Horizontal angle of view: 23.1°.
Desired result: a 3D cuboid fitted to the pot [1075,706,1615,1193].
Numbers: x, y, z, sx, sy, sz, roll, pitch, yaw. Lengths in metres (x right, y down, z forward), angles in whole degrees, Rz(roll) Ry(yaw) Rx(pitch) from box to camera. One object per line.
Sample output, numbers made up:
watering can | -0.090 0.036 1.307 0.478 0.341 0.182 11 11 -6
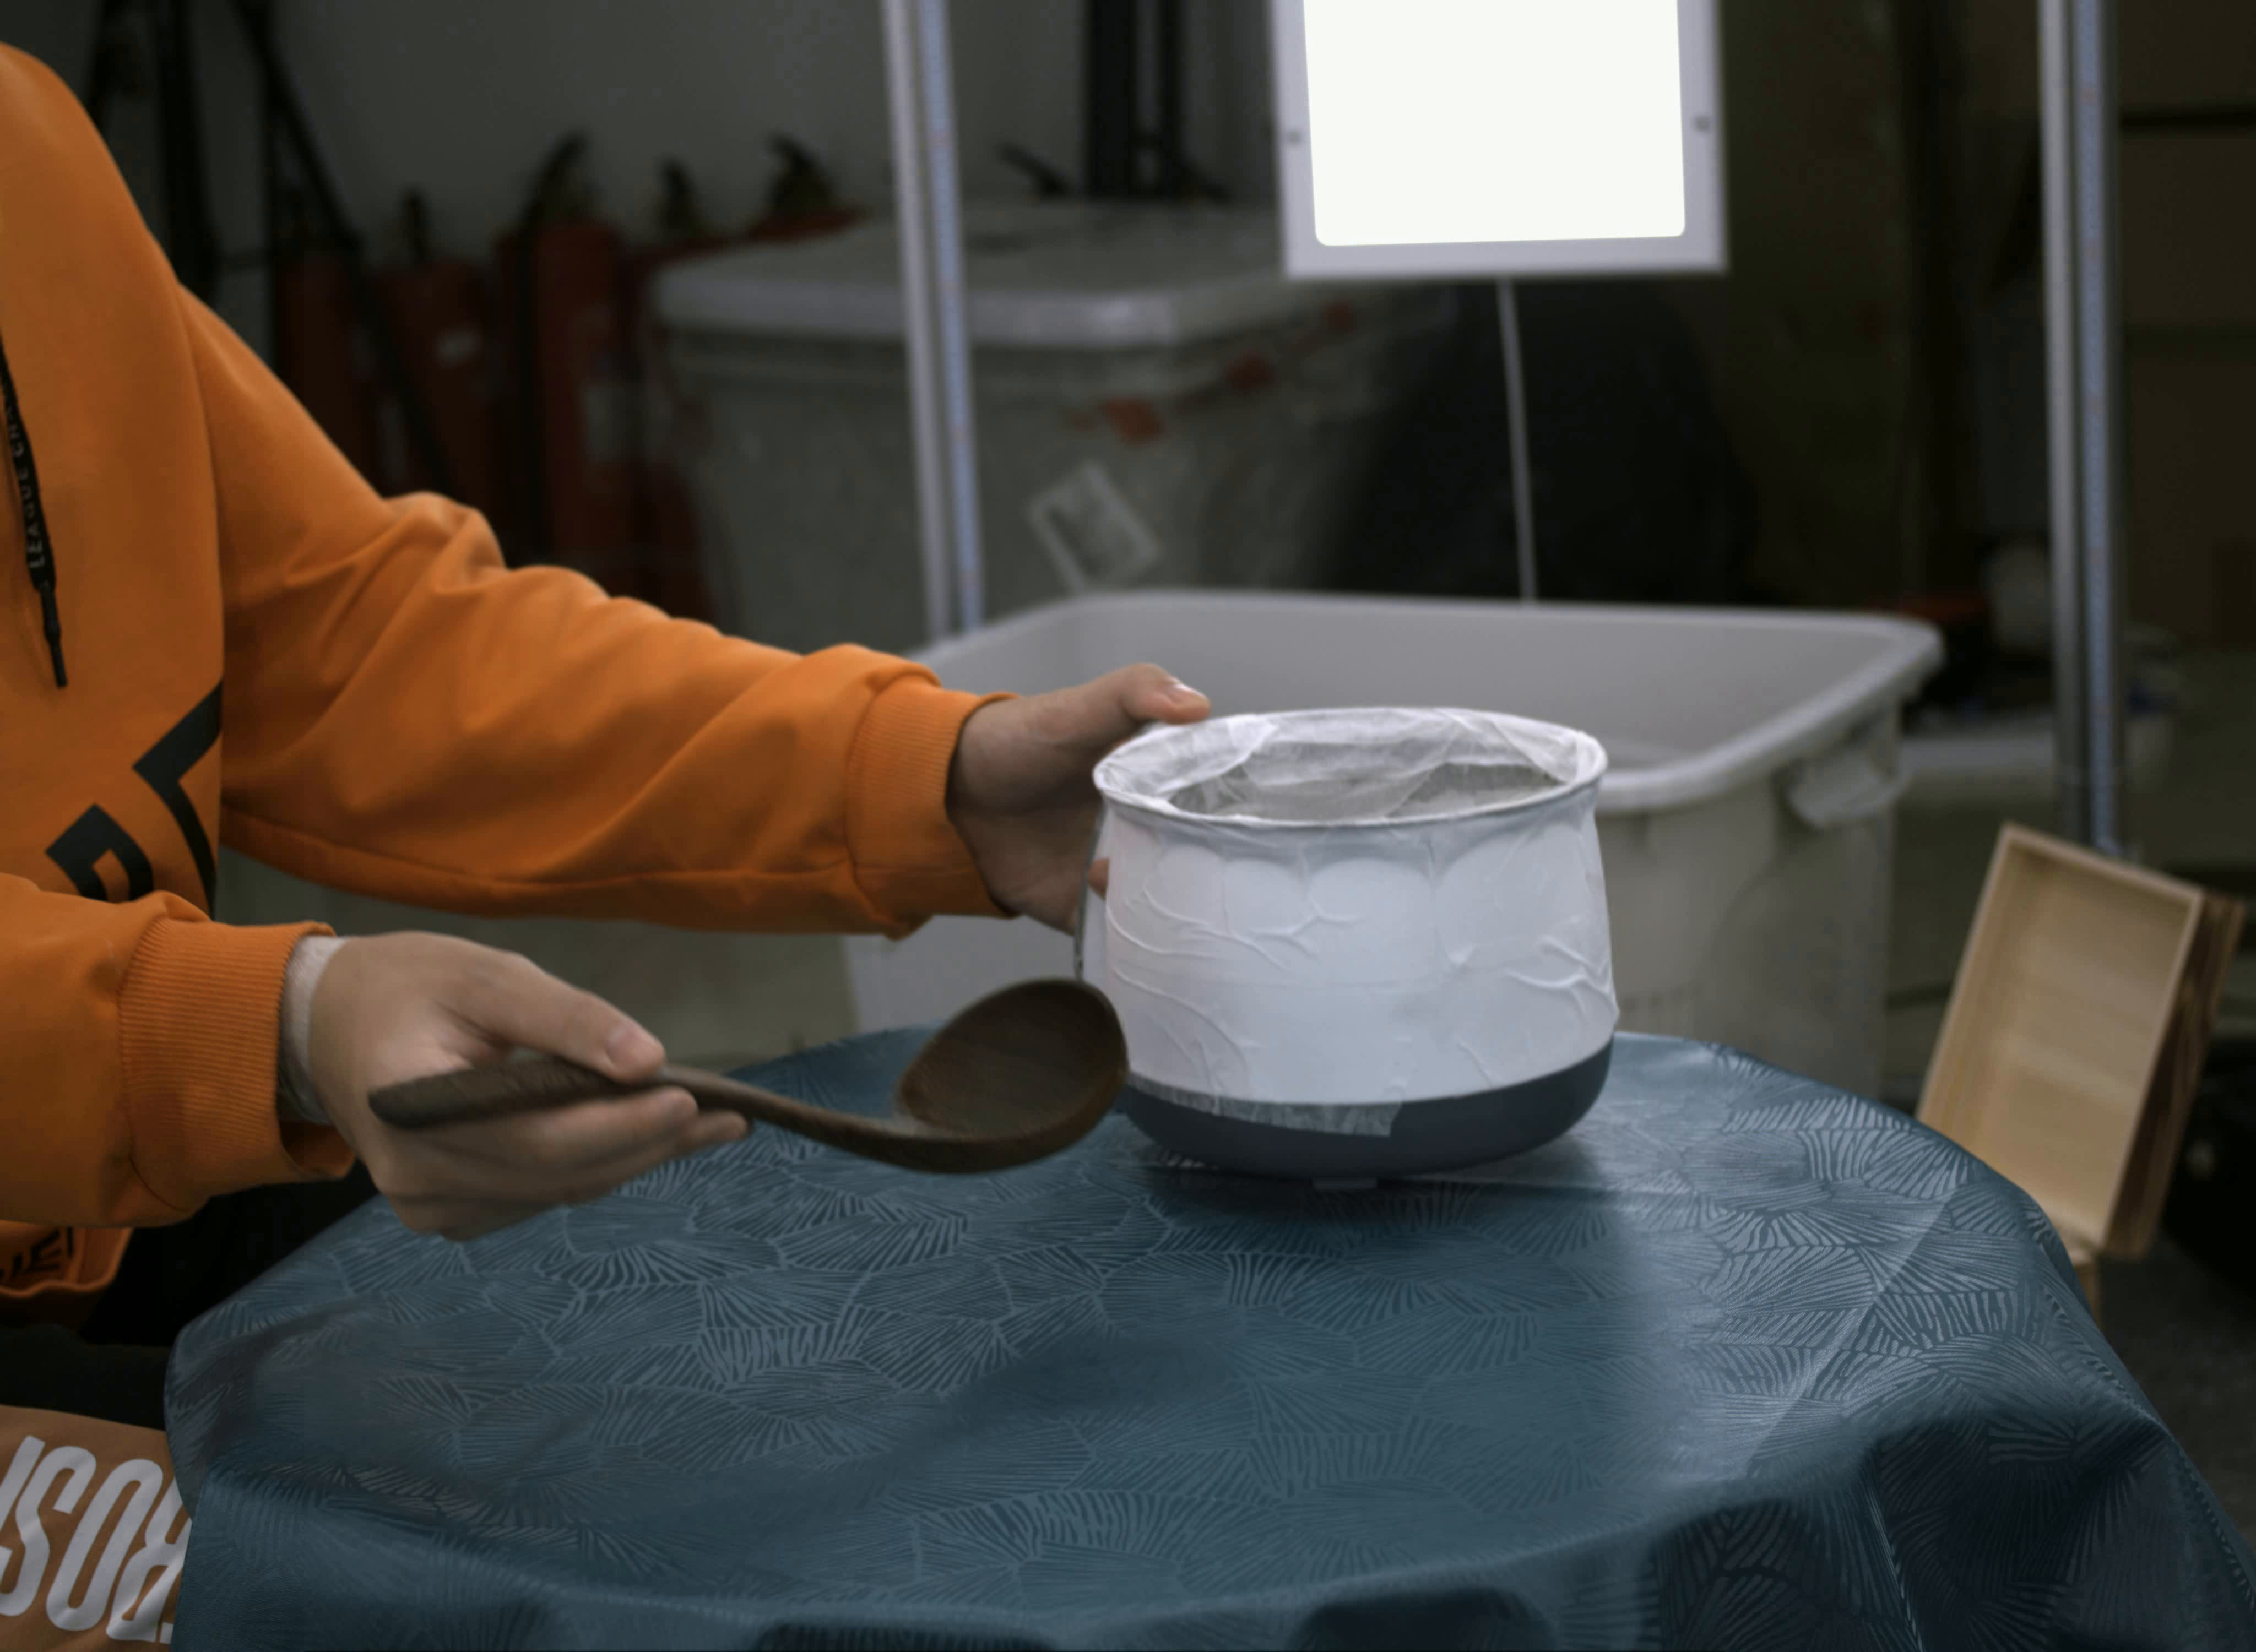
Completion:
pot | 0.062 0.036 1.913 0.174 0.137 0.238 -12 17 -37

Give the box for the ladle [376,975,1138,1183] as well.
ladle | -0.108 0.068 1.667 0.267 0.071 0.077 9 5 -44
